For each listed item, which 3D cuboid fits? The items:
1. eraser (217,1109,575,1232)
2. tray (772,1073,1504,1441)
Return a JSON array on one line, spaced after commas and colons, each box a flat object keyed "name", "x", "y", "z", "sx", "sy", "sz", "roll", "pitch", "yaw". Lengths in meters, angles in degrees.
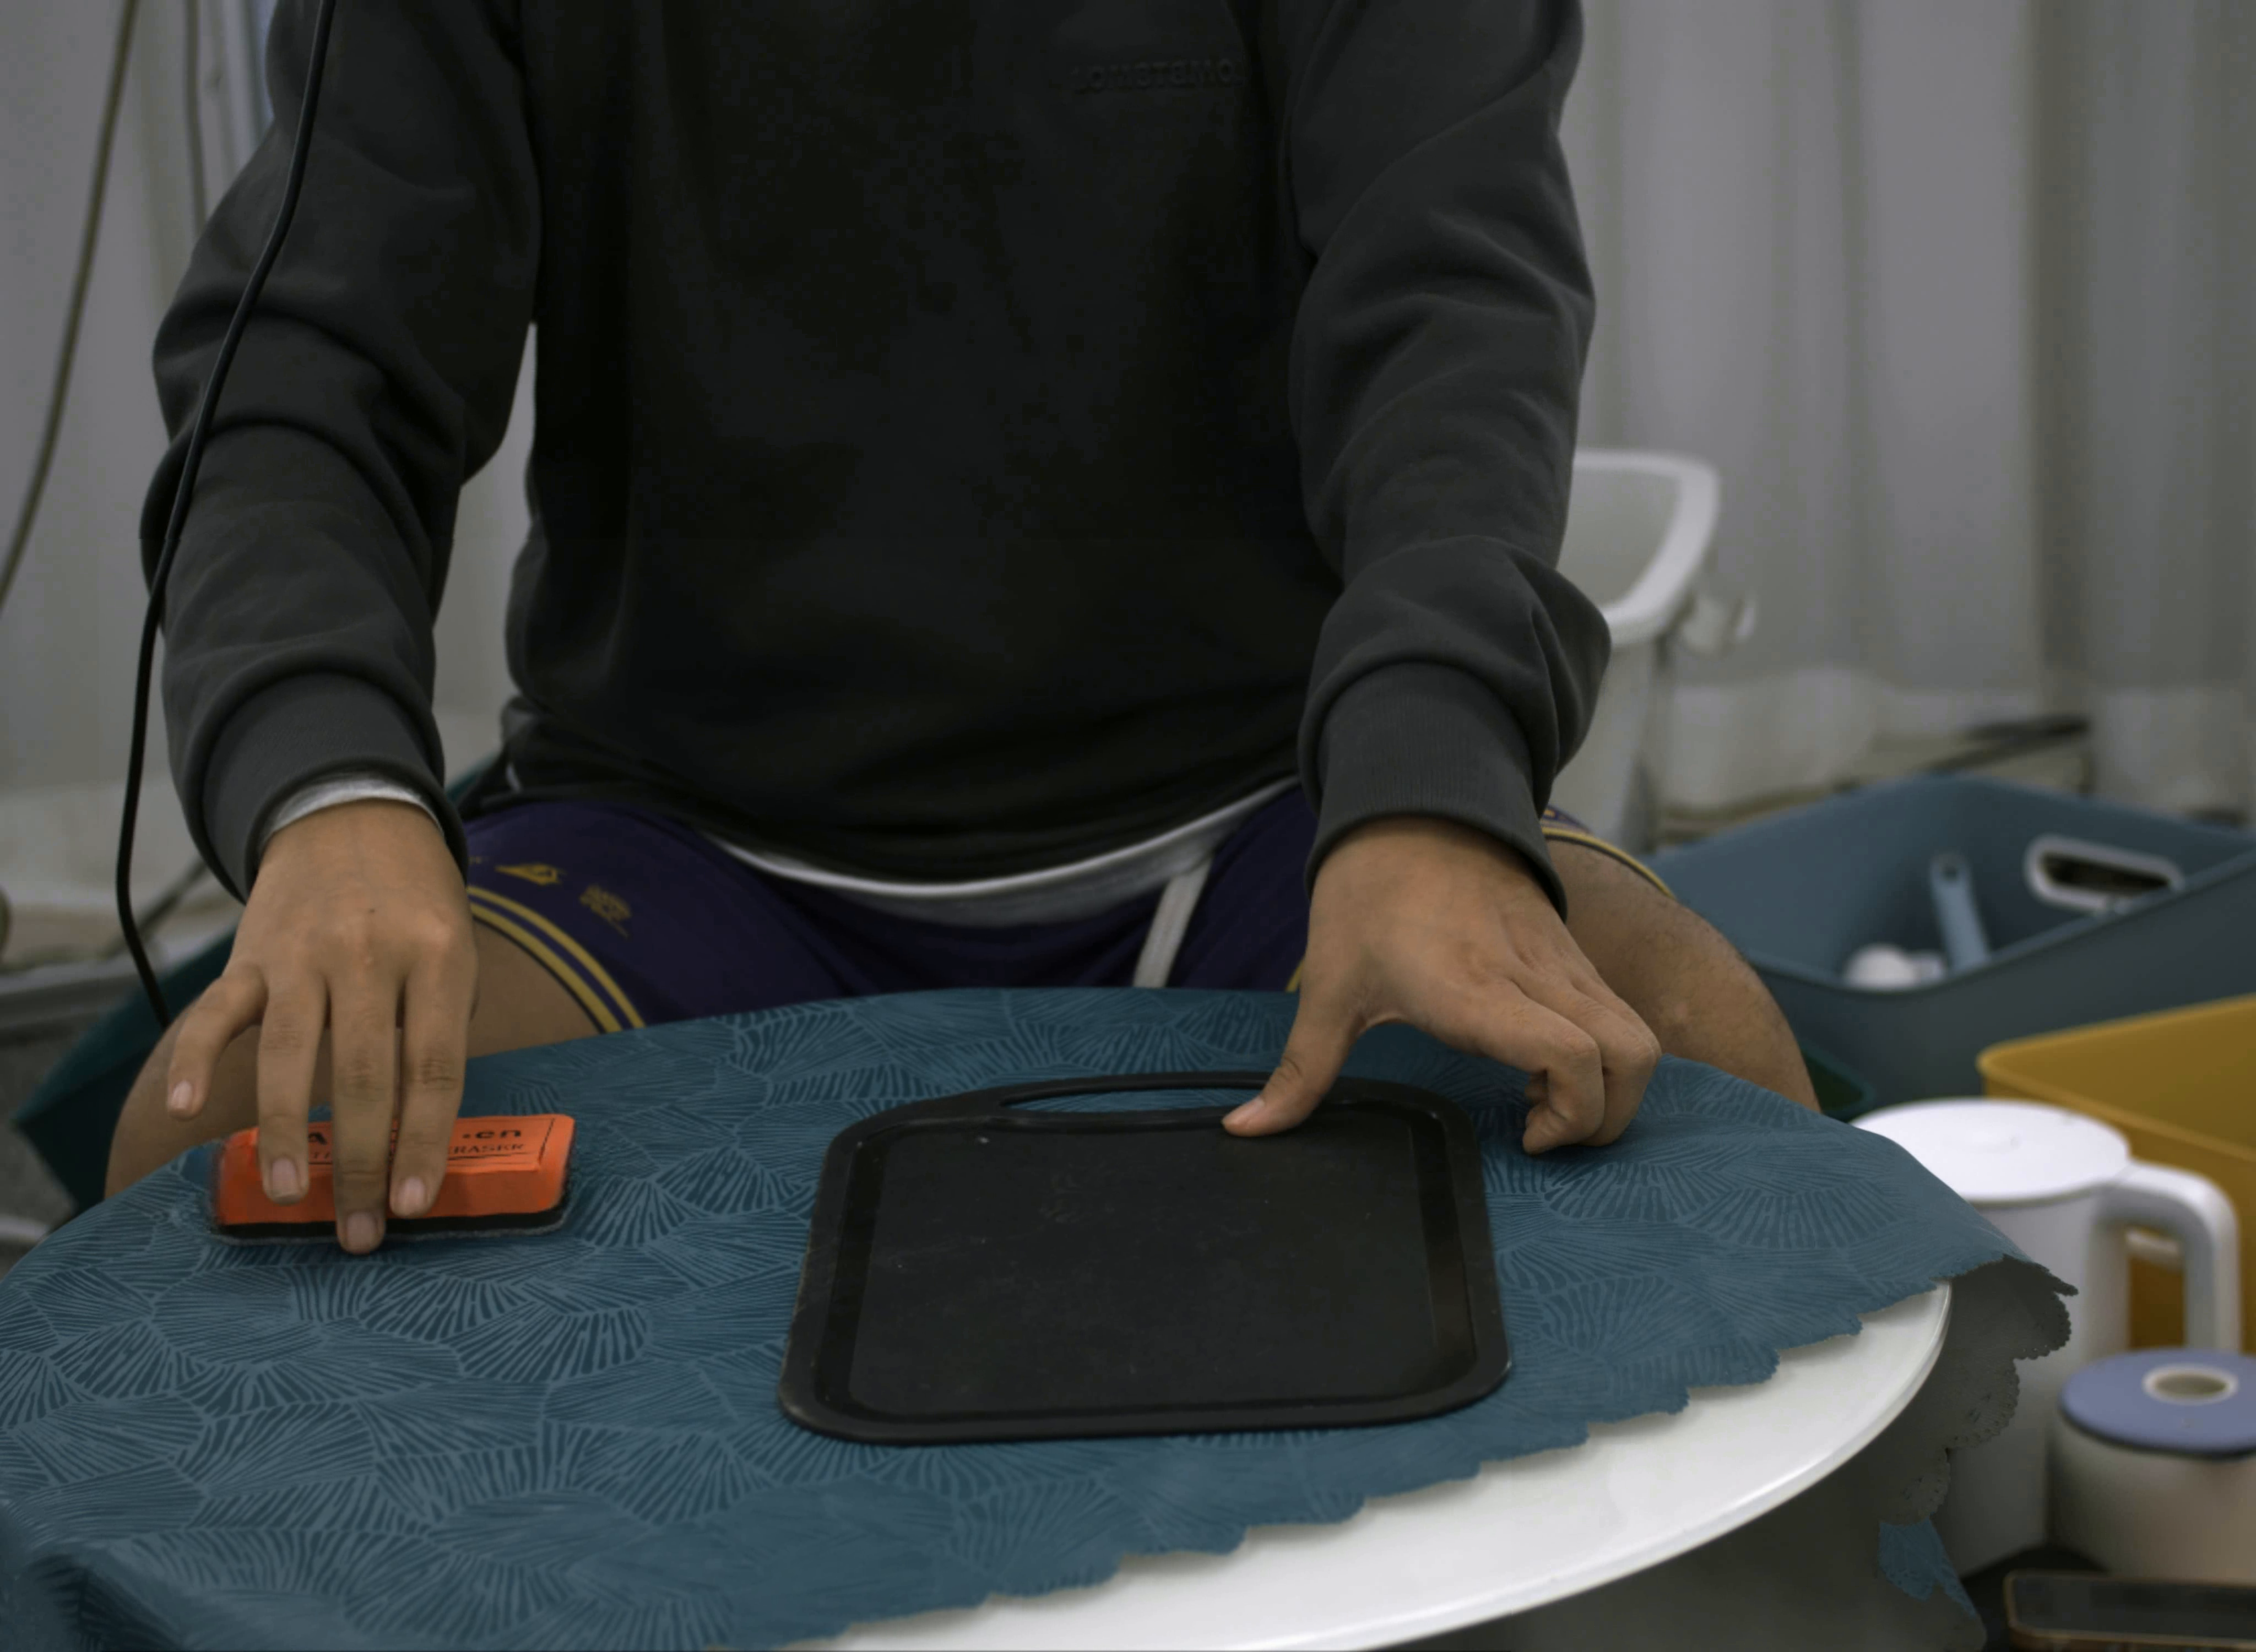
[{"name": "eraser", "x": -0.230, "y": 0.109, "z": 1.727, "sx": 0.108, "sy": 0.023, "sz": 0.059, "roll": -1, "pitch": 15, "yaw": 2}, {"name": "tray", "x": 0.004, "y": 0.124, "z": 1.666, "sx": 0.210, "sy": 0.010, "sz": 0.327, "roll": -2, "pitch": 15, "yaw": 2}]
